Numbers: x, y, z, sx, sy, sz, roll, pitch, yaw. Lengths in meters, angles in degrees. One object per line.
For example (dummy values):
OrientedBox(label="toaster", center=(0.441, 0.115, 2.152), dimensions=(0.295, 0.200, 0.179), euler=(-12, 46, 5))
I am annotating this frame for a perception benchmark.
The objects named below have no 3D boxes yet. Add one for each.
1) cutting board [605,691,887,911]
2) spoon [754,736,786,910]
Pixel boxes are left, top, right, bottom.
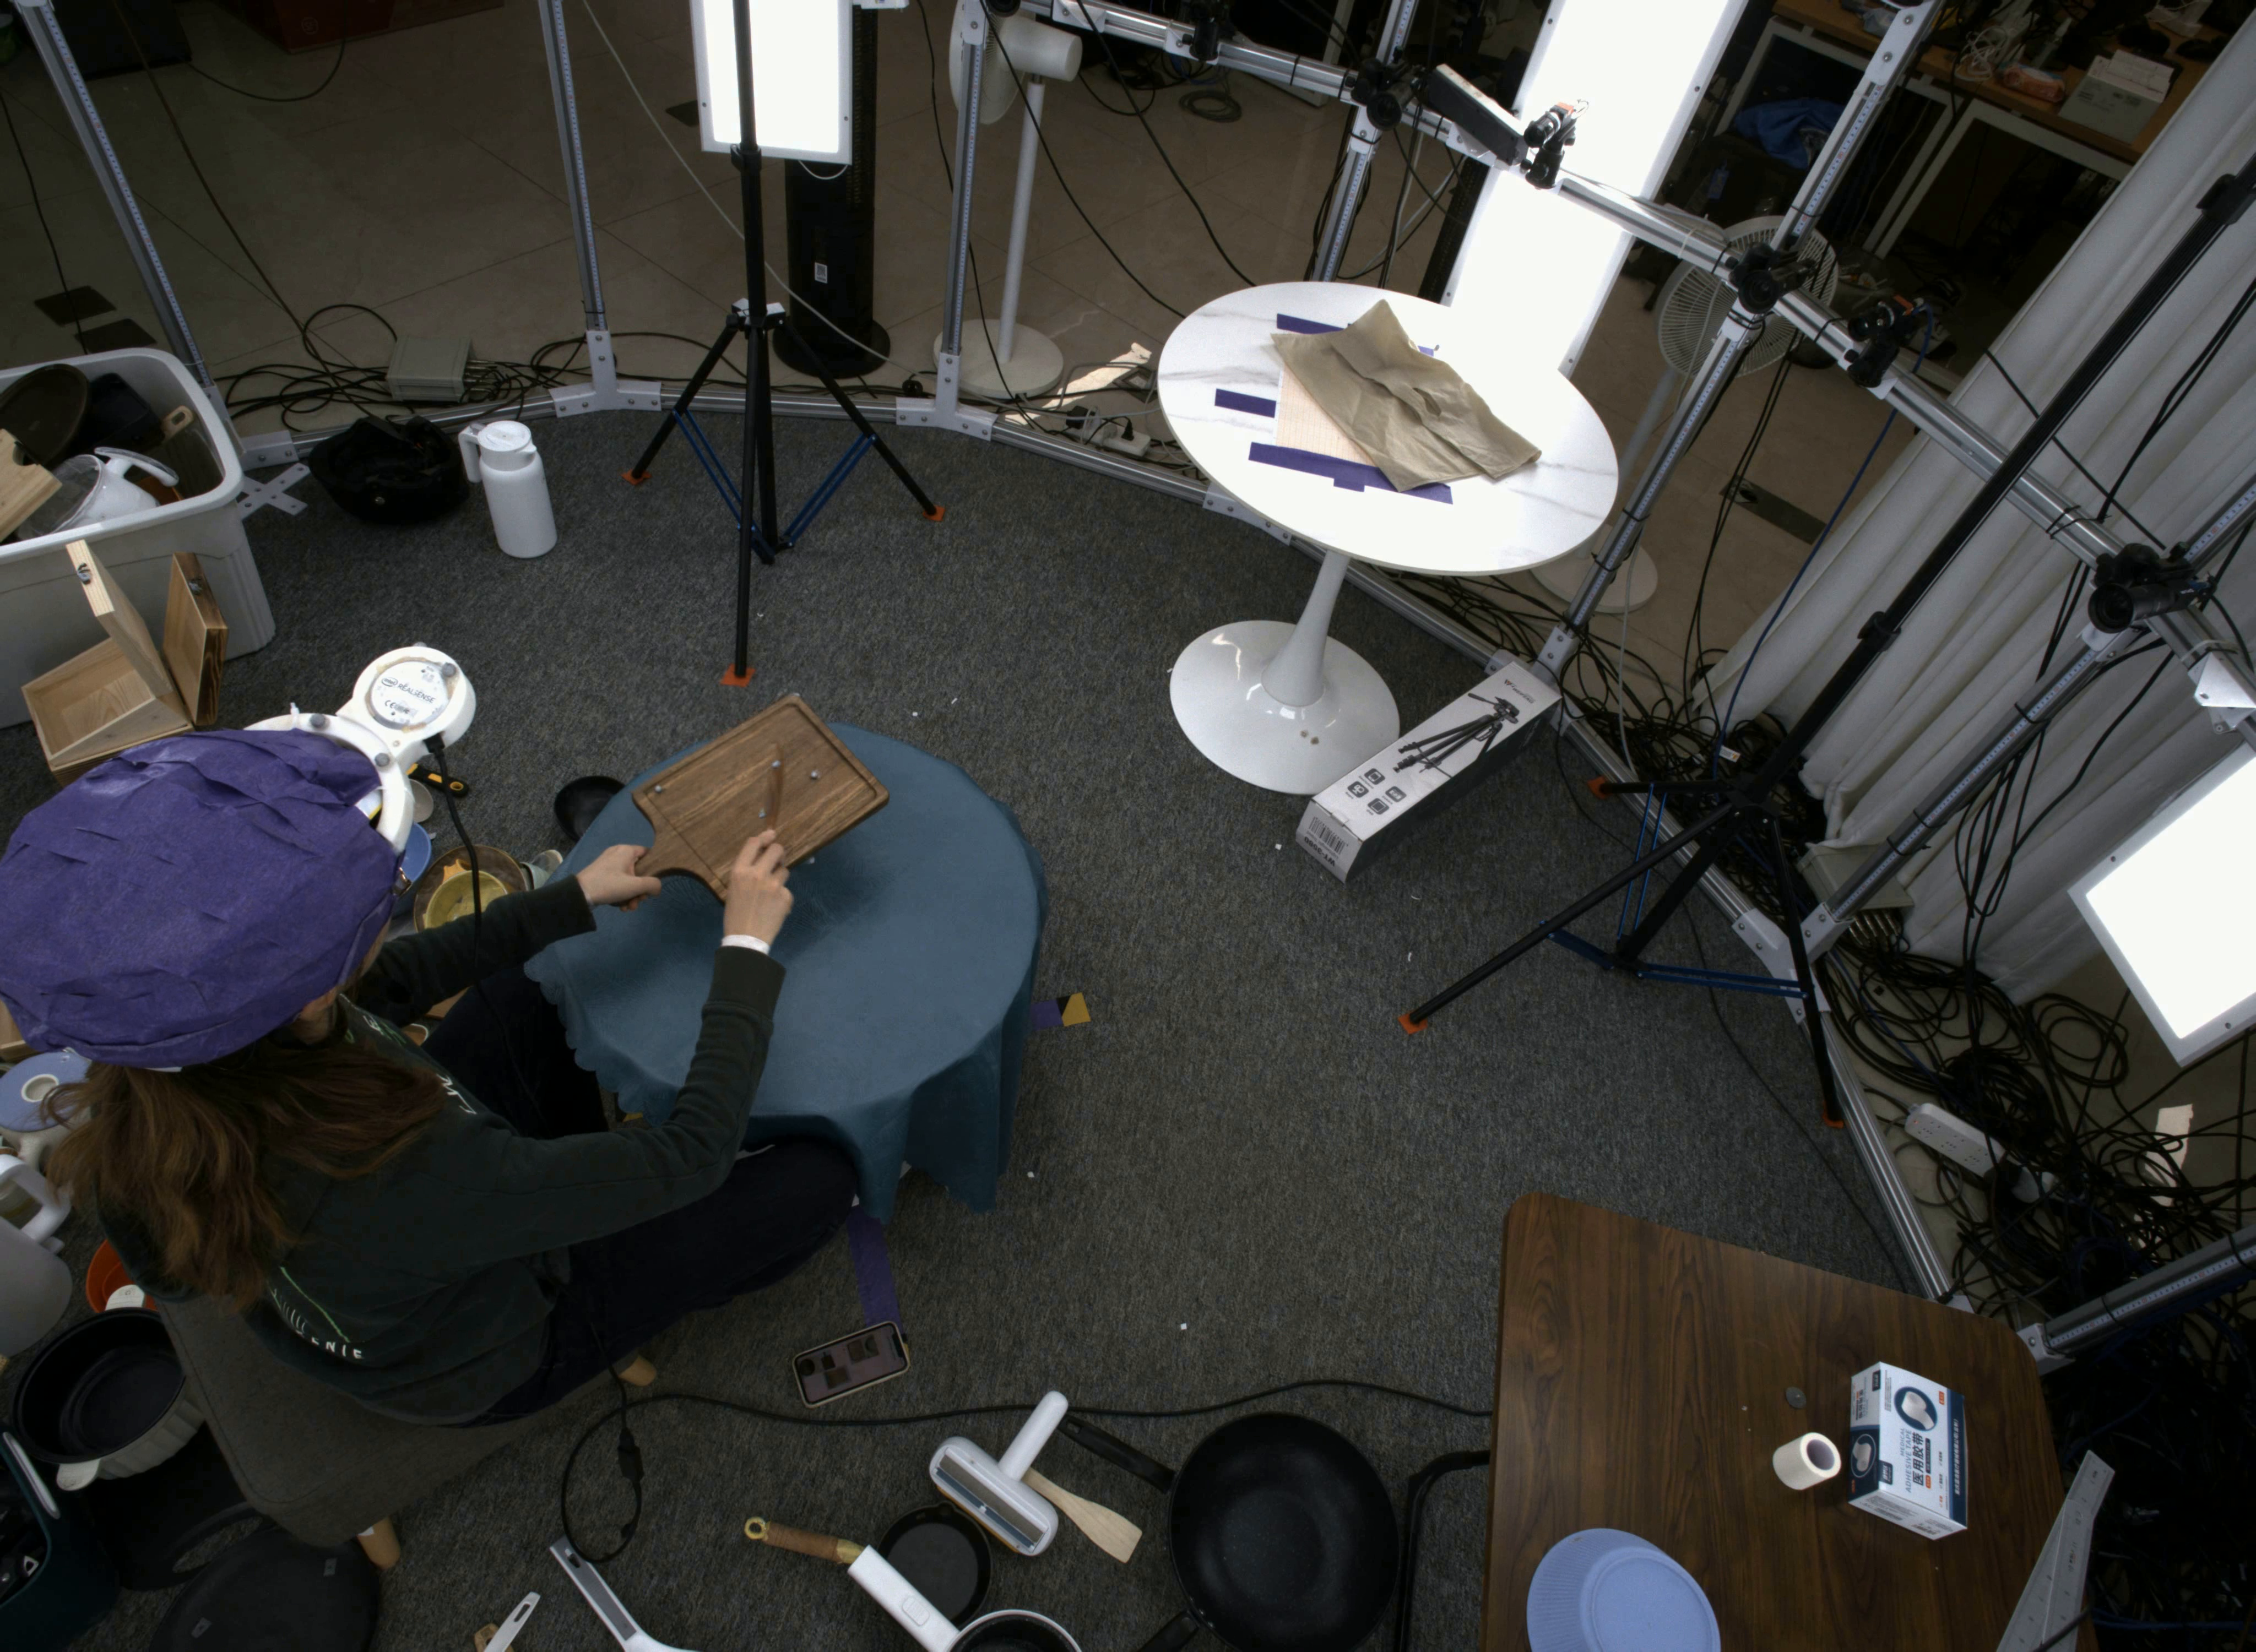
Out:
OrientedBox(label="cutting board", center=(-0.486, -0.012, 1.569), dimensions=(0.199, 0.023, 0.352), euler=(46, 60, 9))
OrientedBox(label="spoon", center=(-0.396, -0.006, 1.435), dimensions=(0.017, 0.076, 0.212), euler=(8, 56, -17))
